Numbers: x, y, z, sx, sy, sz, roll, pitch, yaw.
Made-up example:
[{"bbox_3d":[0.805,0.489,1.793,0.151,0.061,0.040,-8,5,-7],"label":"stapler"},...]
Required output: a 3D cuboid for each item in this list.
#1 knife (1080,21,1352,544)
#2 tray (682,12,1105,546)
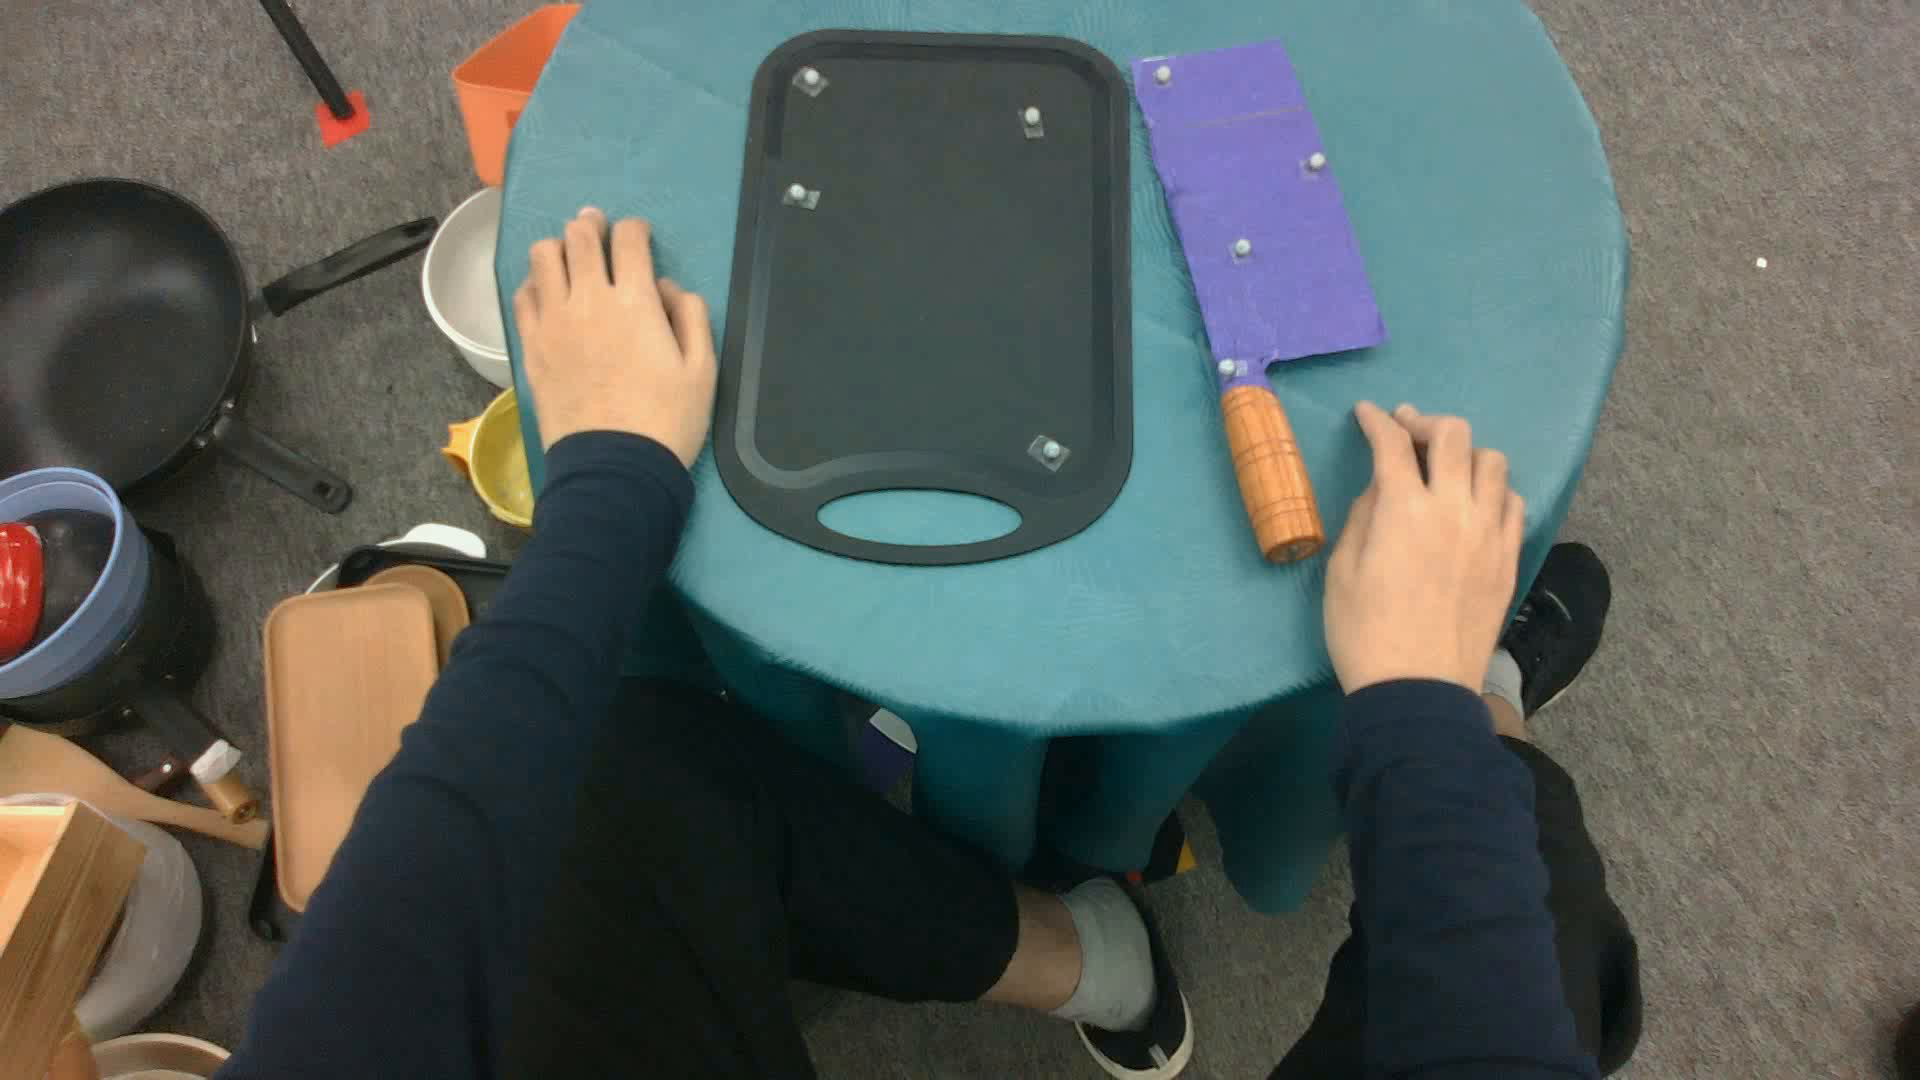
[{"bbox_3d":[0.148,-0.150,0.714,0.104,0.032,0.316,-10,67,-6],"label":"knife"},{"bbox_3d":[-0.029,-0.148,0.719,0.211,0.010,0.326,2,67,-1],"label":"tray"}]
